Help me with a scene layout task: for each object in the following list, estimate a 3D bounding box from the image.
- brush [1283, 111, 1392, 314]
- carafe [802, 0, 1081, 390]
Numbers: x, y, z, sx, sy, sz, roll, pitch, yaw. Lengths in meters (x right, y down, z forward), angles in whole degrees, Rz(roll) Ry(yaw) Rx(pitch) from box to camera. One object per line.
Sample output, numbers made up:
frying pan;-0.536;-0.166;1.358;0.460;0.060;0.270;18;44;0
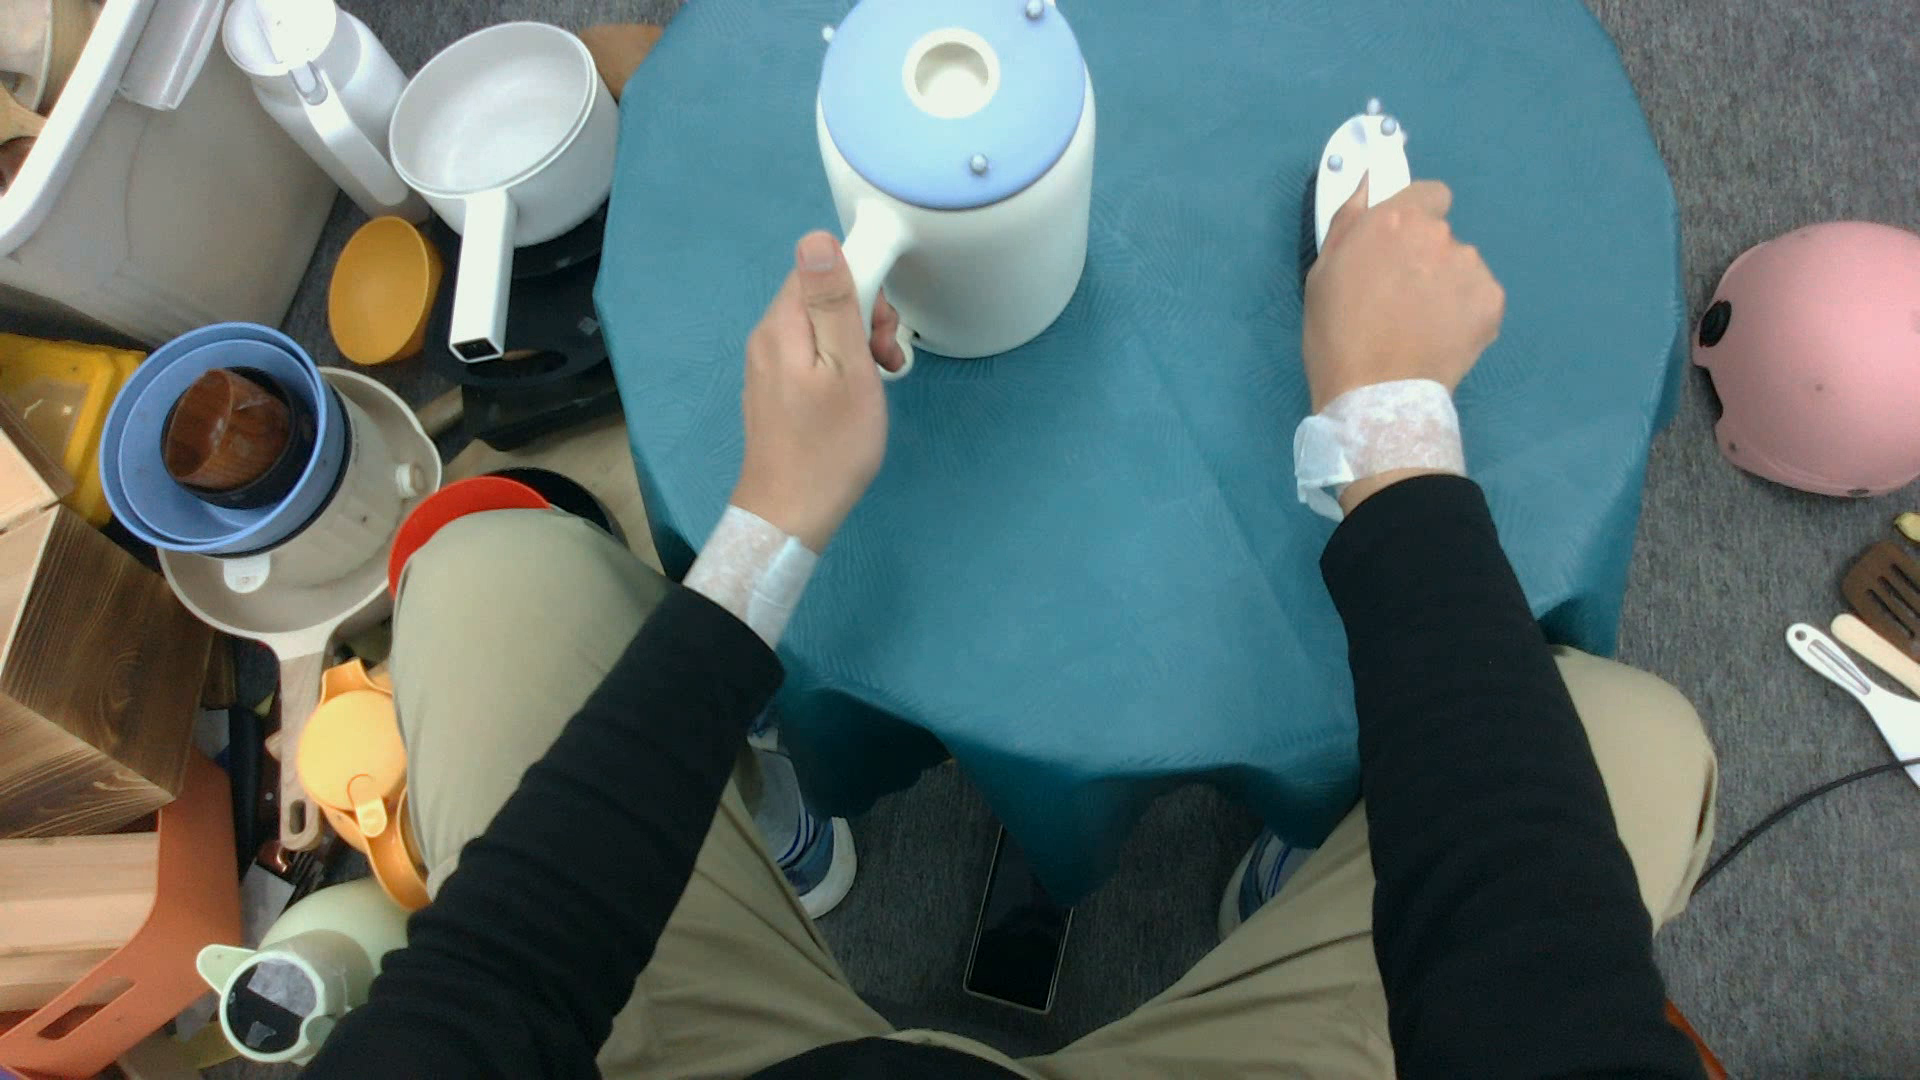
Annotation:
brush;0.206;-0.180;0.731;0.050;0.072;0.099;6;74;-1
carafe;-0.019;-0.166;0.691;0.132;0.182;0.191;27;80;9
